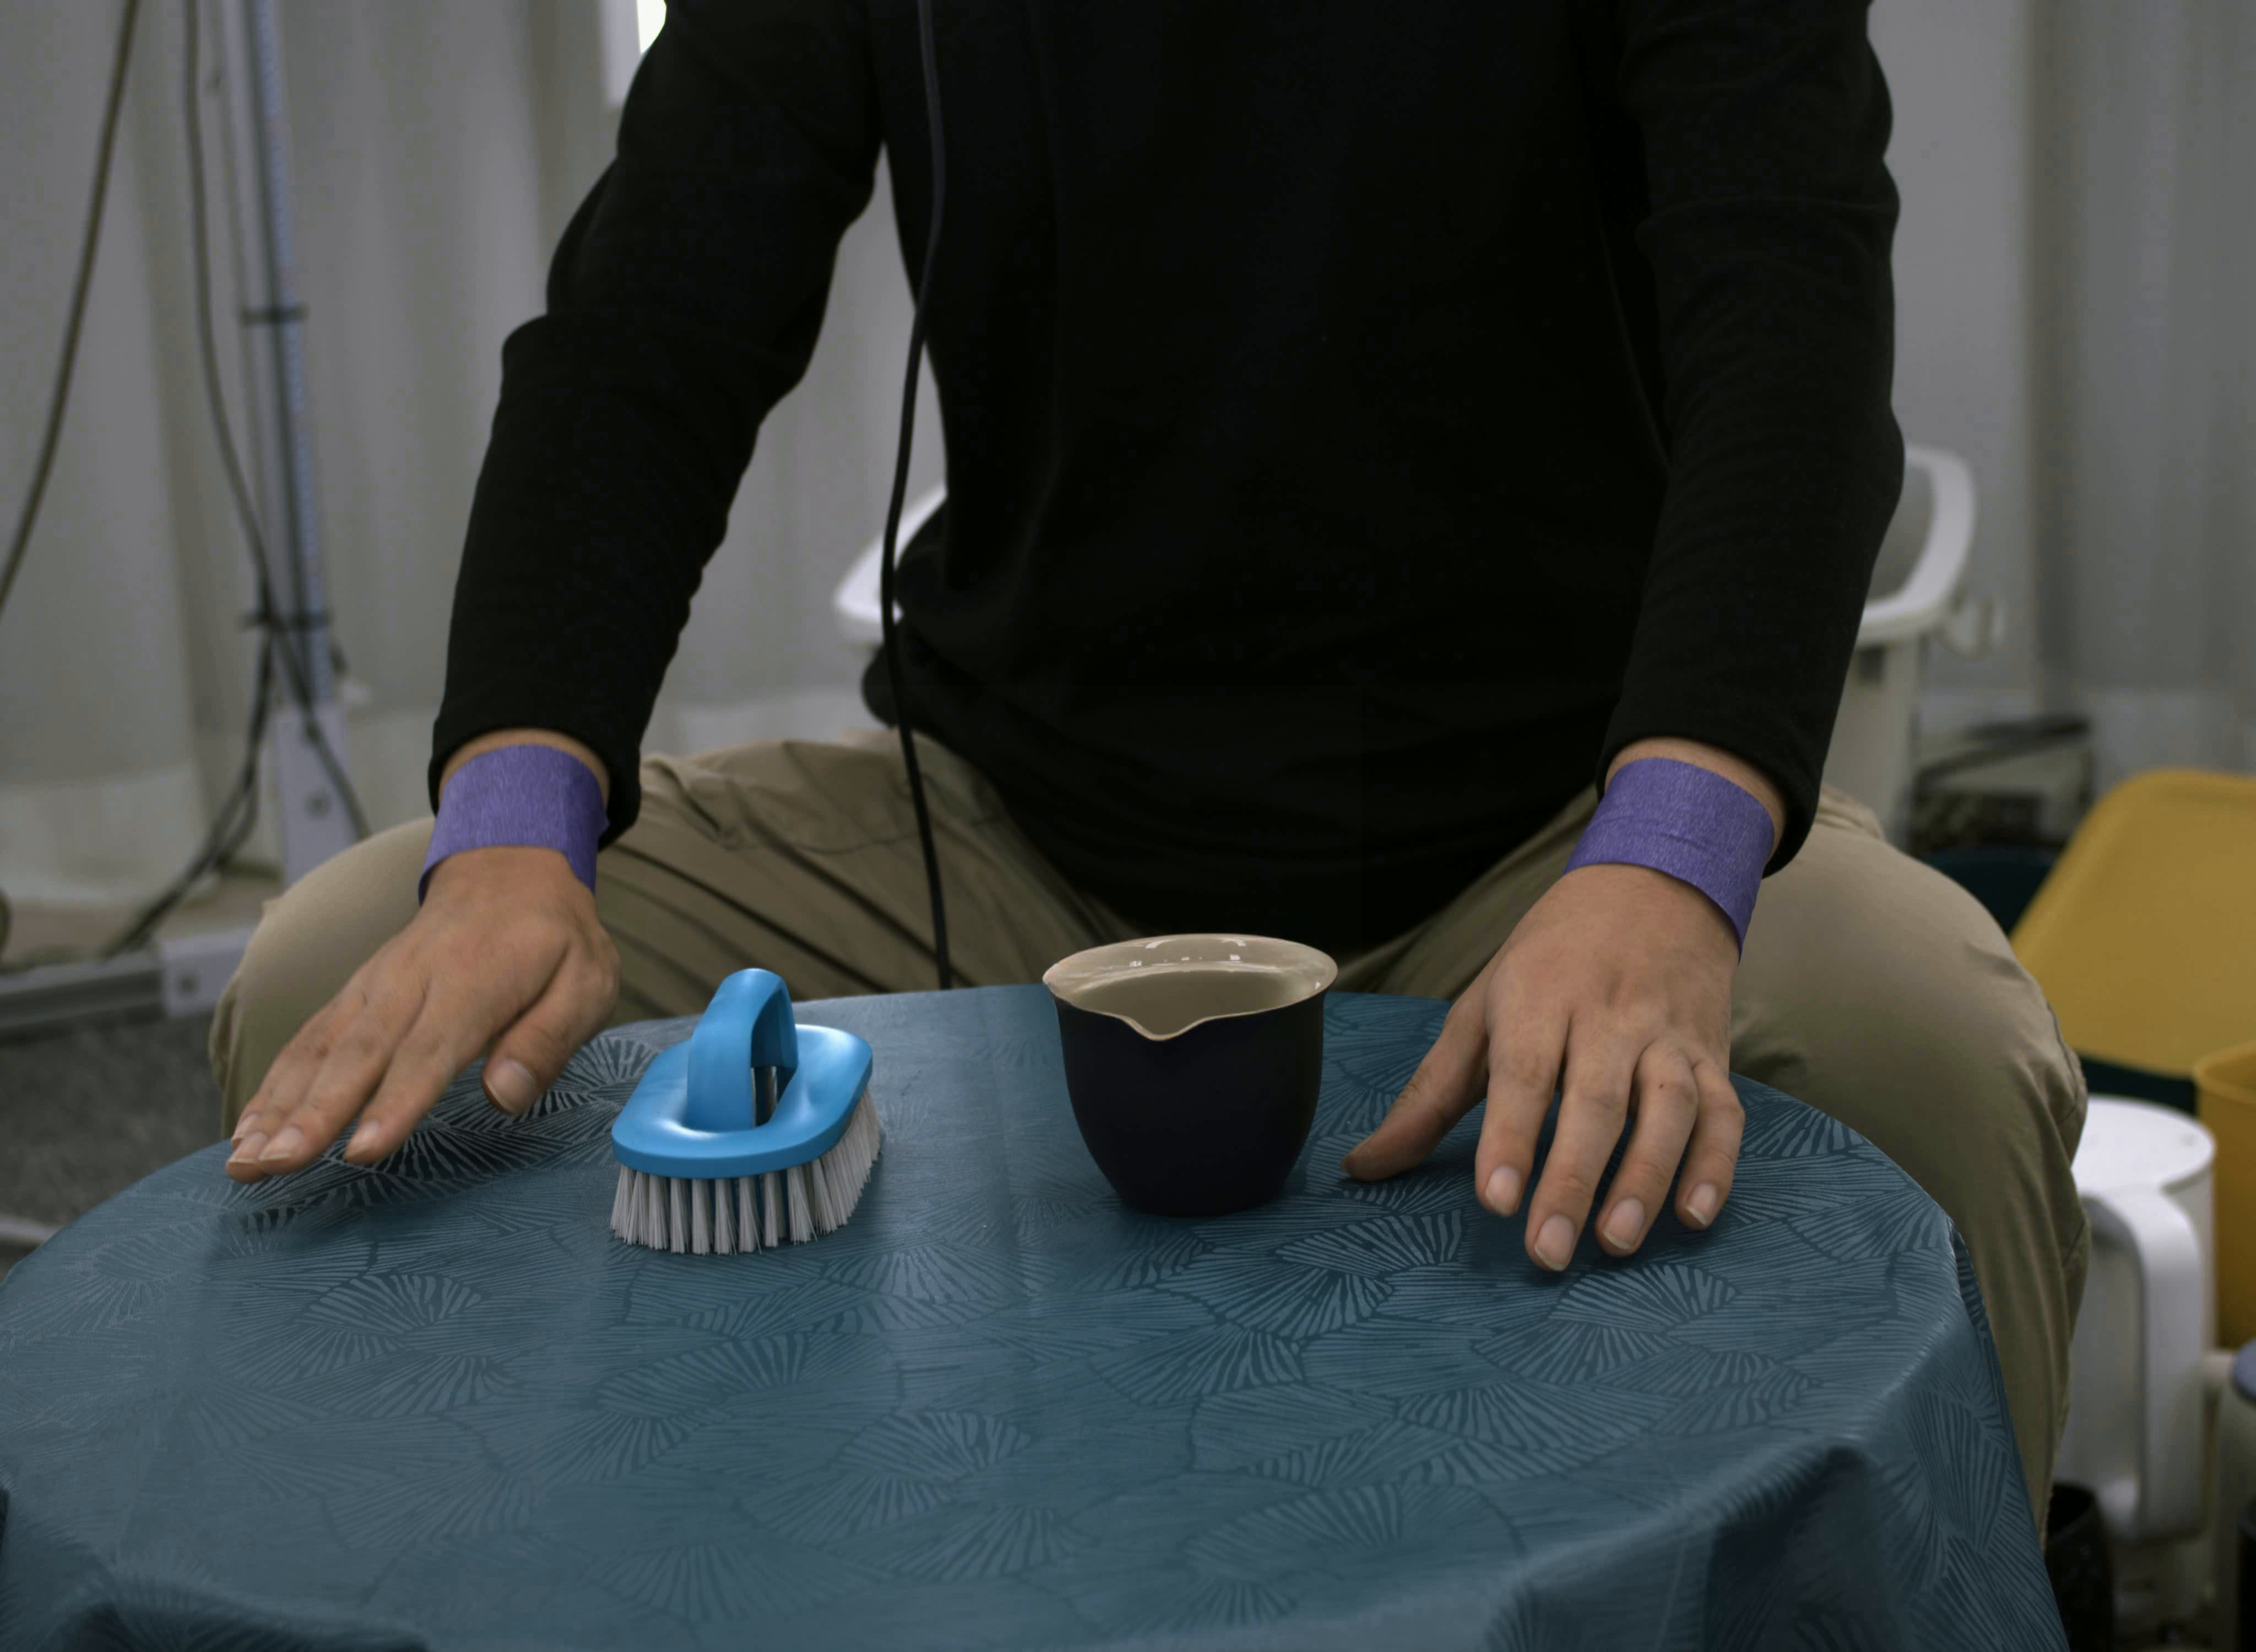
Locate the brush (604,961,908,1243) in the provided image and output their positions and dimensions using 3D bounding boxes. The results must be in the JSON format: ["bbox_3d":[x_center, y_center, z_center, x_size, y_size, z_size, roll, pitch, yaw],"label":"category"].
[{"bbox_3d":[-0.119,0.082,1.735,0.084,0.063,0.142,-5,13,9],"label":"brush"}]

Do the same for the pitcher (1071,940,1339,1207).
[{"bbox_3d":[0.023,0.078,1.701,0.083,0.071,0.096,3,17,17],"label":"pitcher"}]
